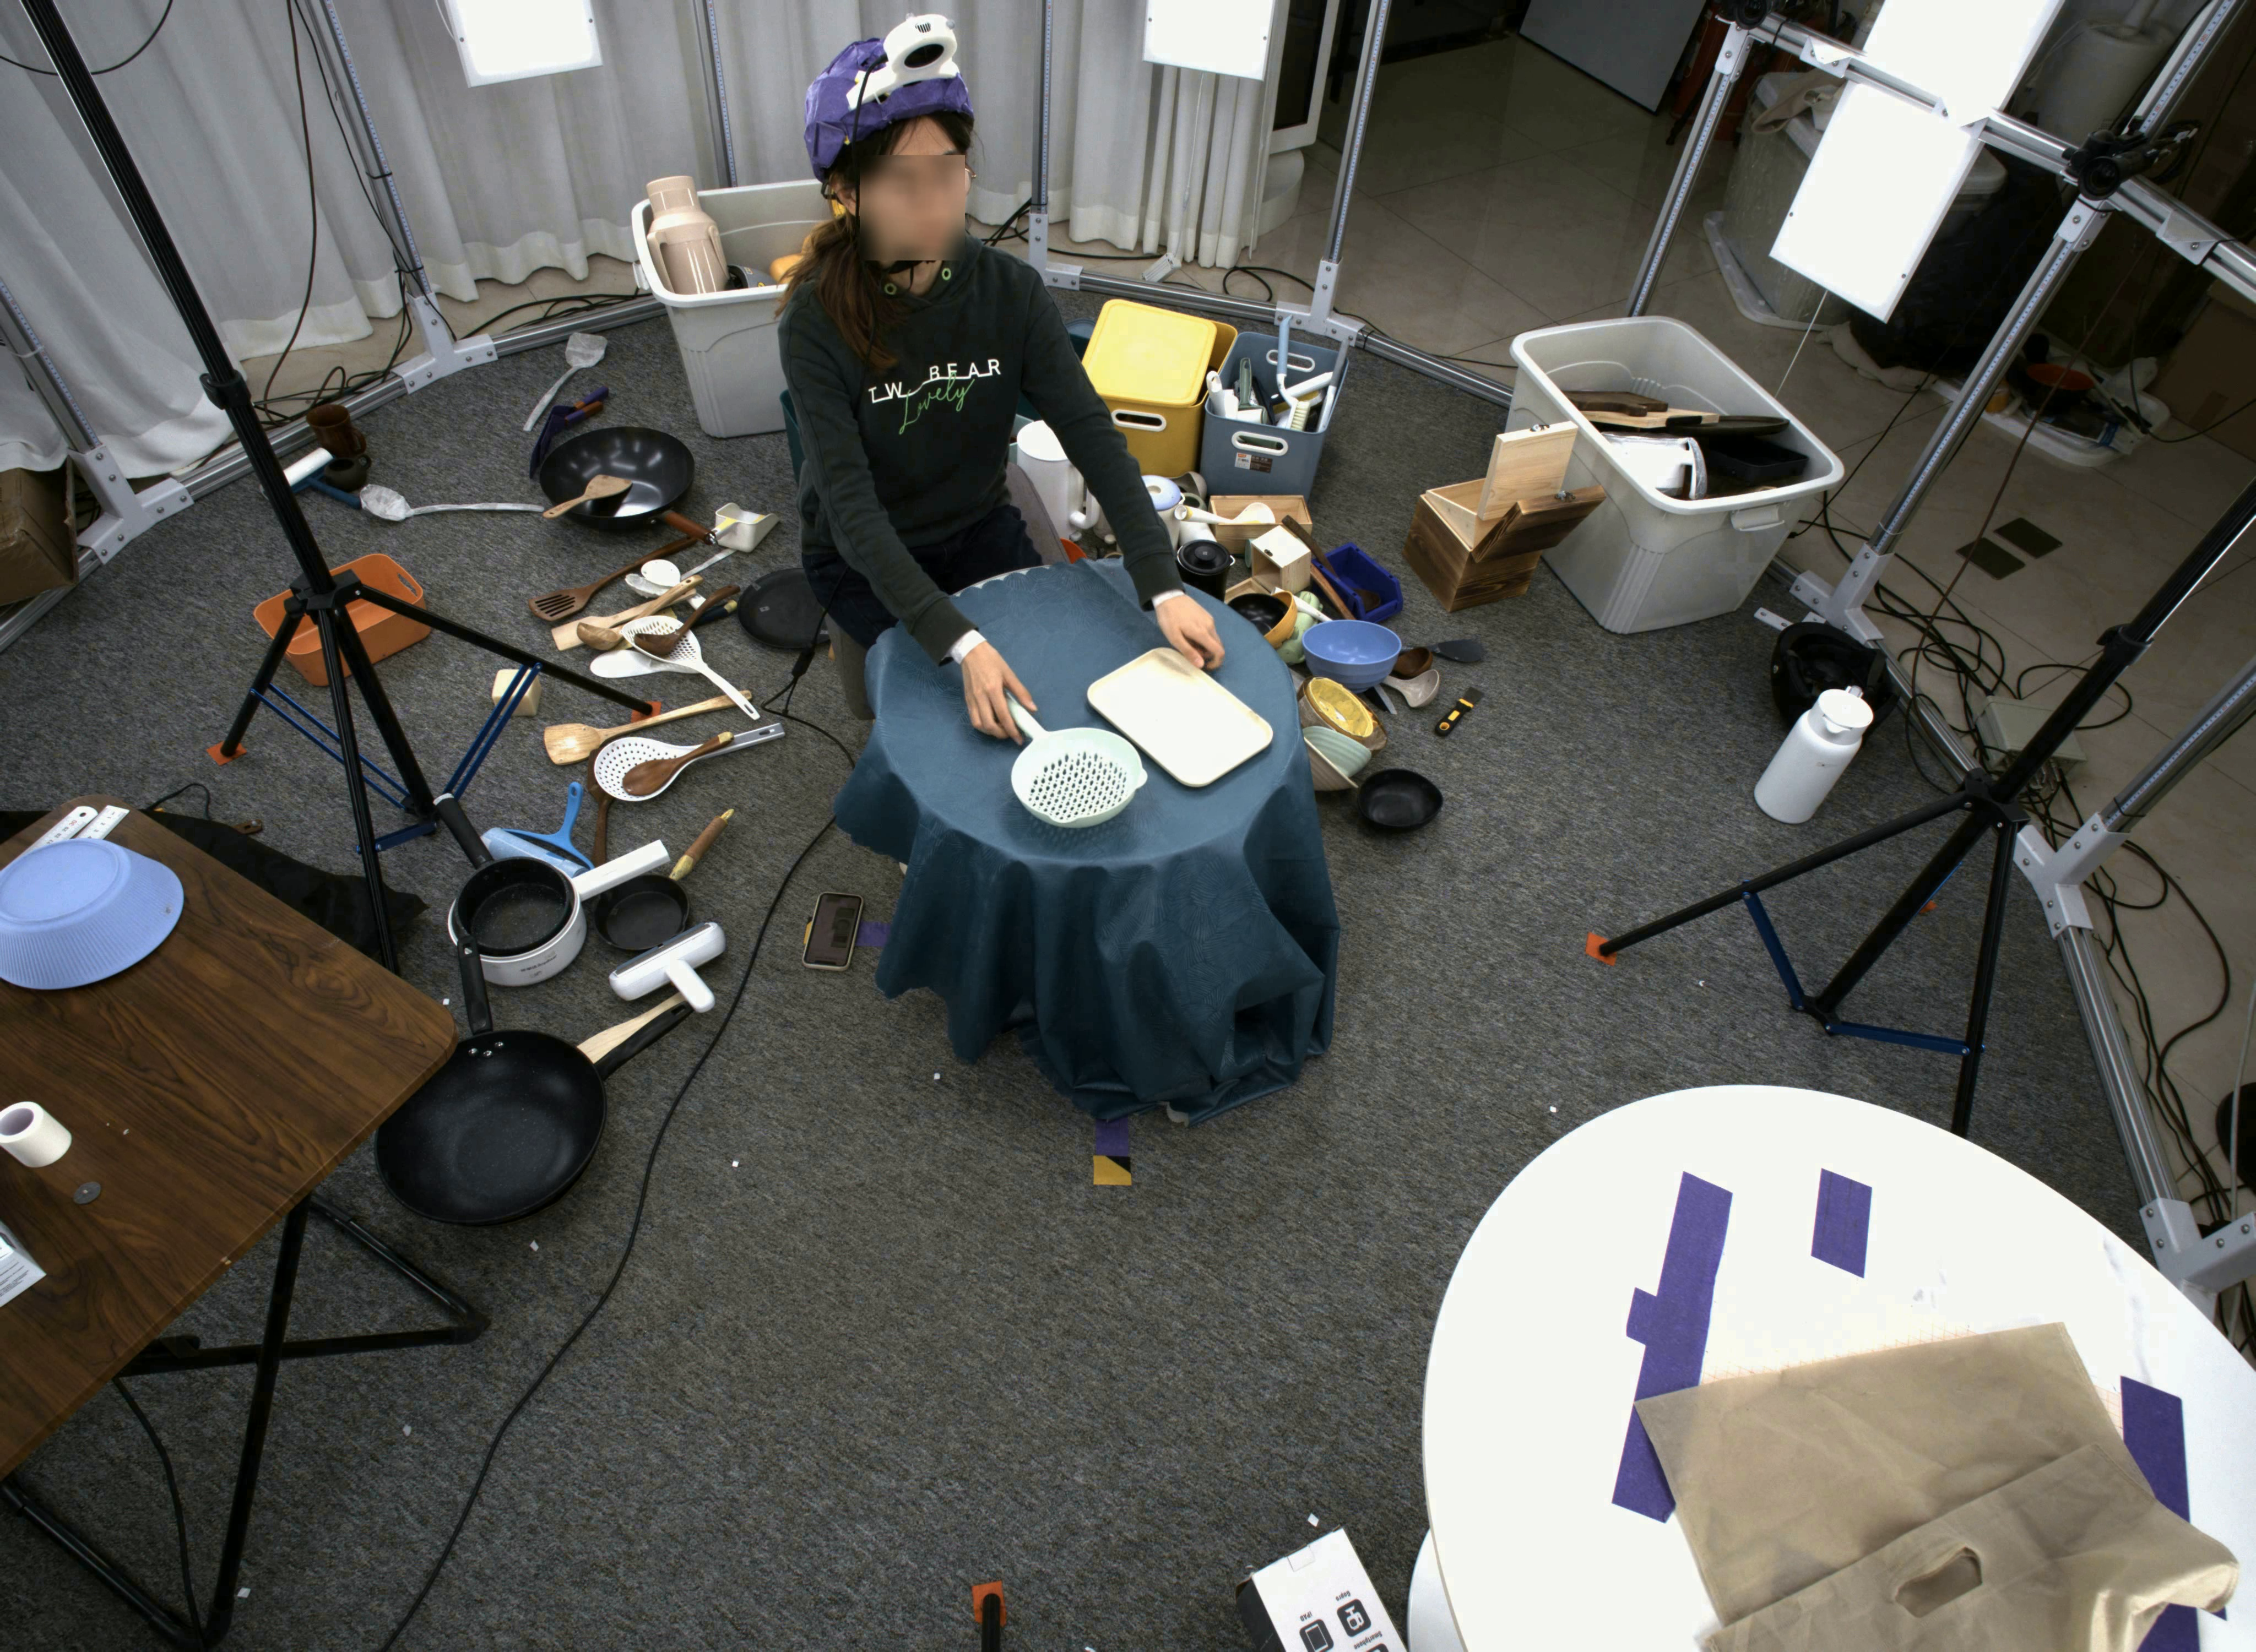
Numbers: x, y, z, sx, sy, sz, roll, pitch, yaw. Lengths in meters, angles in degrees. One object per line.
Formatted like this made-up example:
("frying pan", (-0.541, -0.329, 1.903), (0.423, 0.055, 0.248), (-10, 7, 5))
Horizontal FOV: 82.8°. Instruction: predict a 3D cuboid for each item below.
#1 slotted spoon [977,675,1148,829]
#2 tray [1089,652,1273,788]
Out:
("slotted spoon", (-0.117, -0.117, 1.736), (0.170, 0.073, 0.366), (-26, 55, -20))
("tray", (0.073, -0.152, 1.811), (0.172, 0.017, 0.244), (-32, 57, -28))
